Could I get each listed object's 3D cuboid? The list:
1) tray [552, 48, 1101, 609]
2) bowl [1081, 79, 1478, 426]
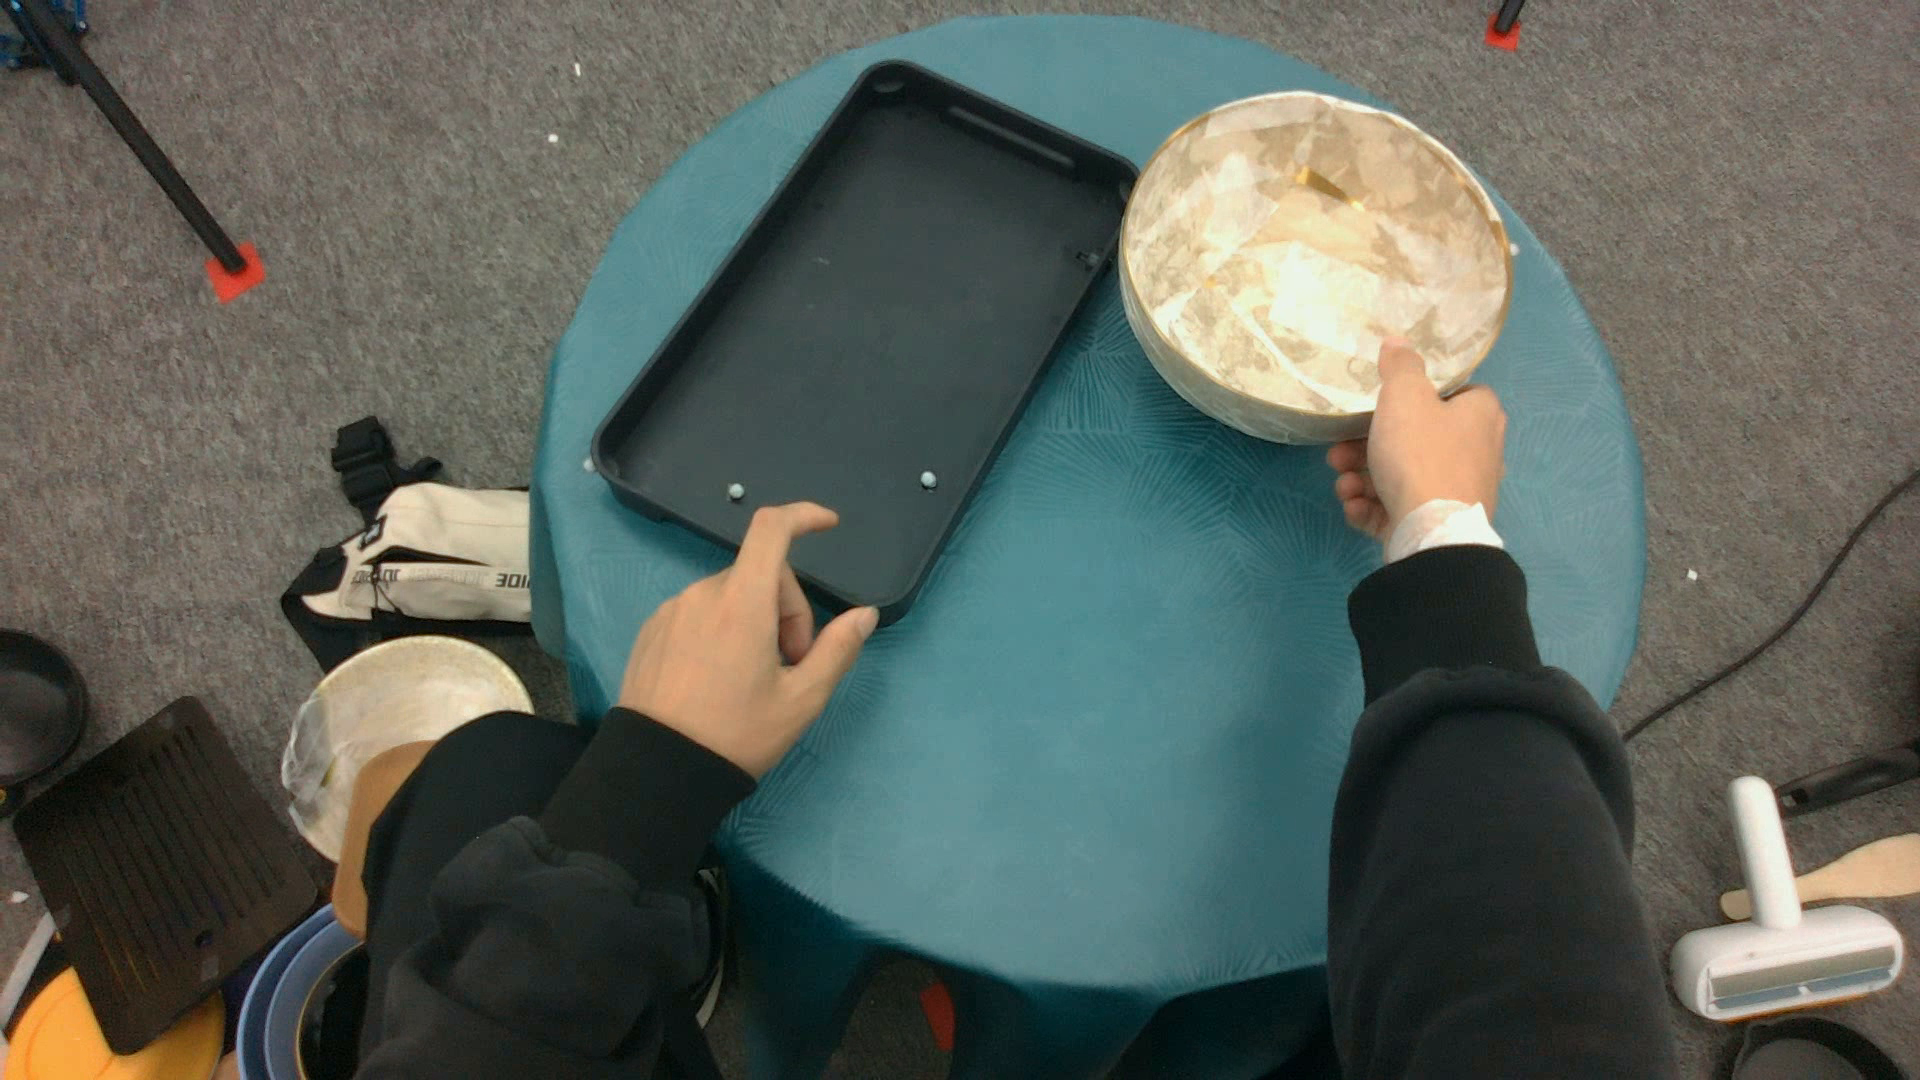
[{"bbox_3d":[-0.059,-0.127,0.753,0.184,0.037,0.319,27,65,8],"label":"tray"},{"bbox_3d":[0.158,-0.139,0.745,0.215,0.094,0.215,2,64,-5],"label":"bowl"}]
